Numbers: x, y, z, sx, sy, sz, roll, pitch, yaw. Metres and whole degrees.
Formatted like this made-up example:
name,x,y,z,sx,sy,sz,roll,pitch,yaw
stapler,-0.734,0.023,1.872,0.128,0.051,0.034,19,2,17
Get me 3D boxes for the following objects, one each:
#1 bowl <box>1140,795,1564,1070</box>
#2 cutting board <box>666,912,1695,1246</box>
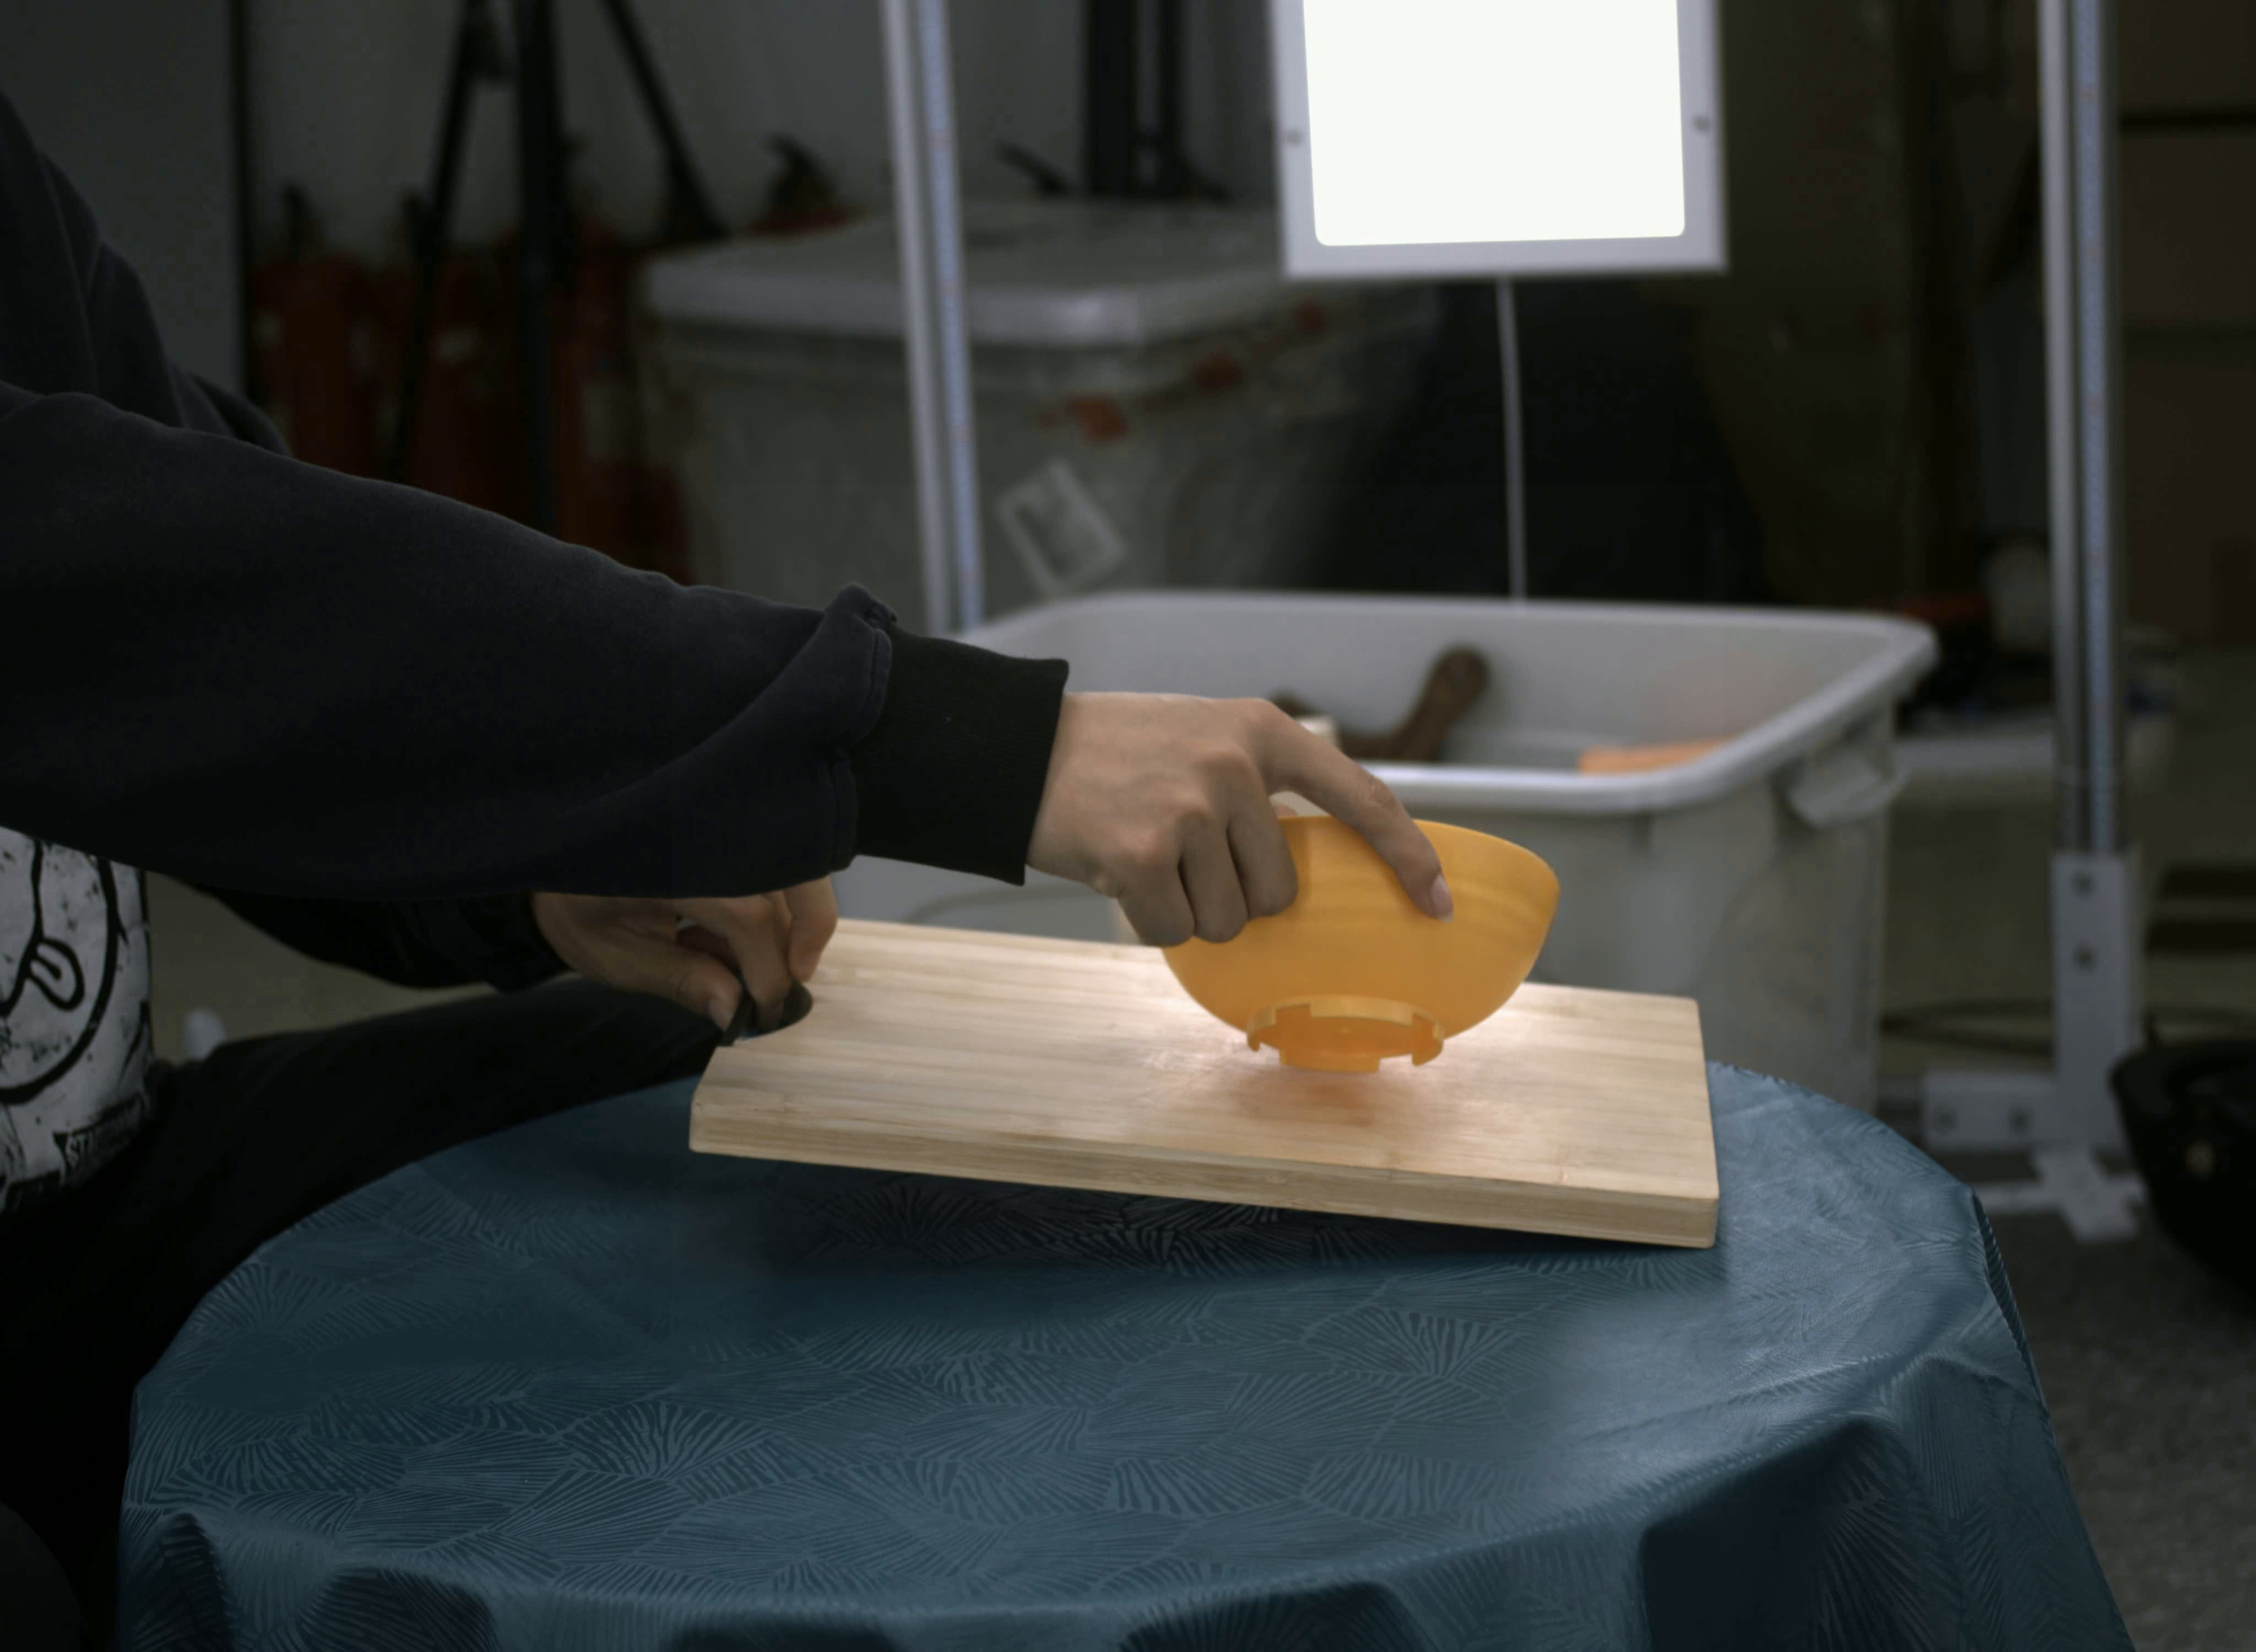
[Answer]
name,x,y,z,sx,sy,sz,roll,pitch,yaw
bowl,0.075,0.044,1.860,0.145,0.060,0.146,4,-22,0
cutting board,0.026,0.085,1.914,0.349,0.024,0.249,5,14,3
